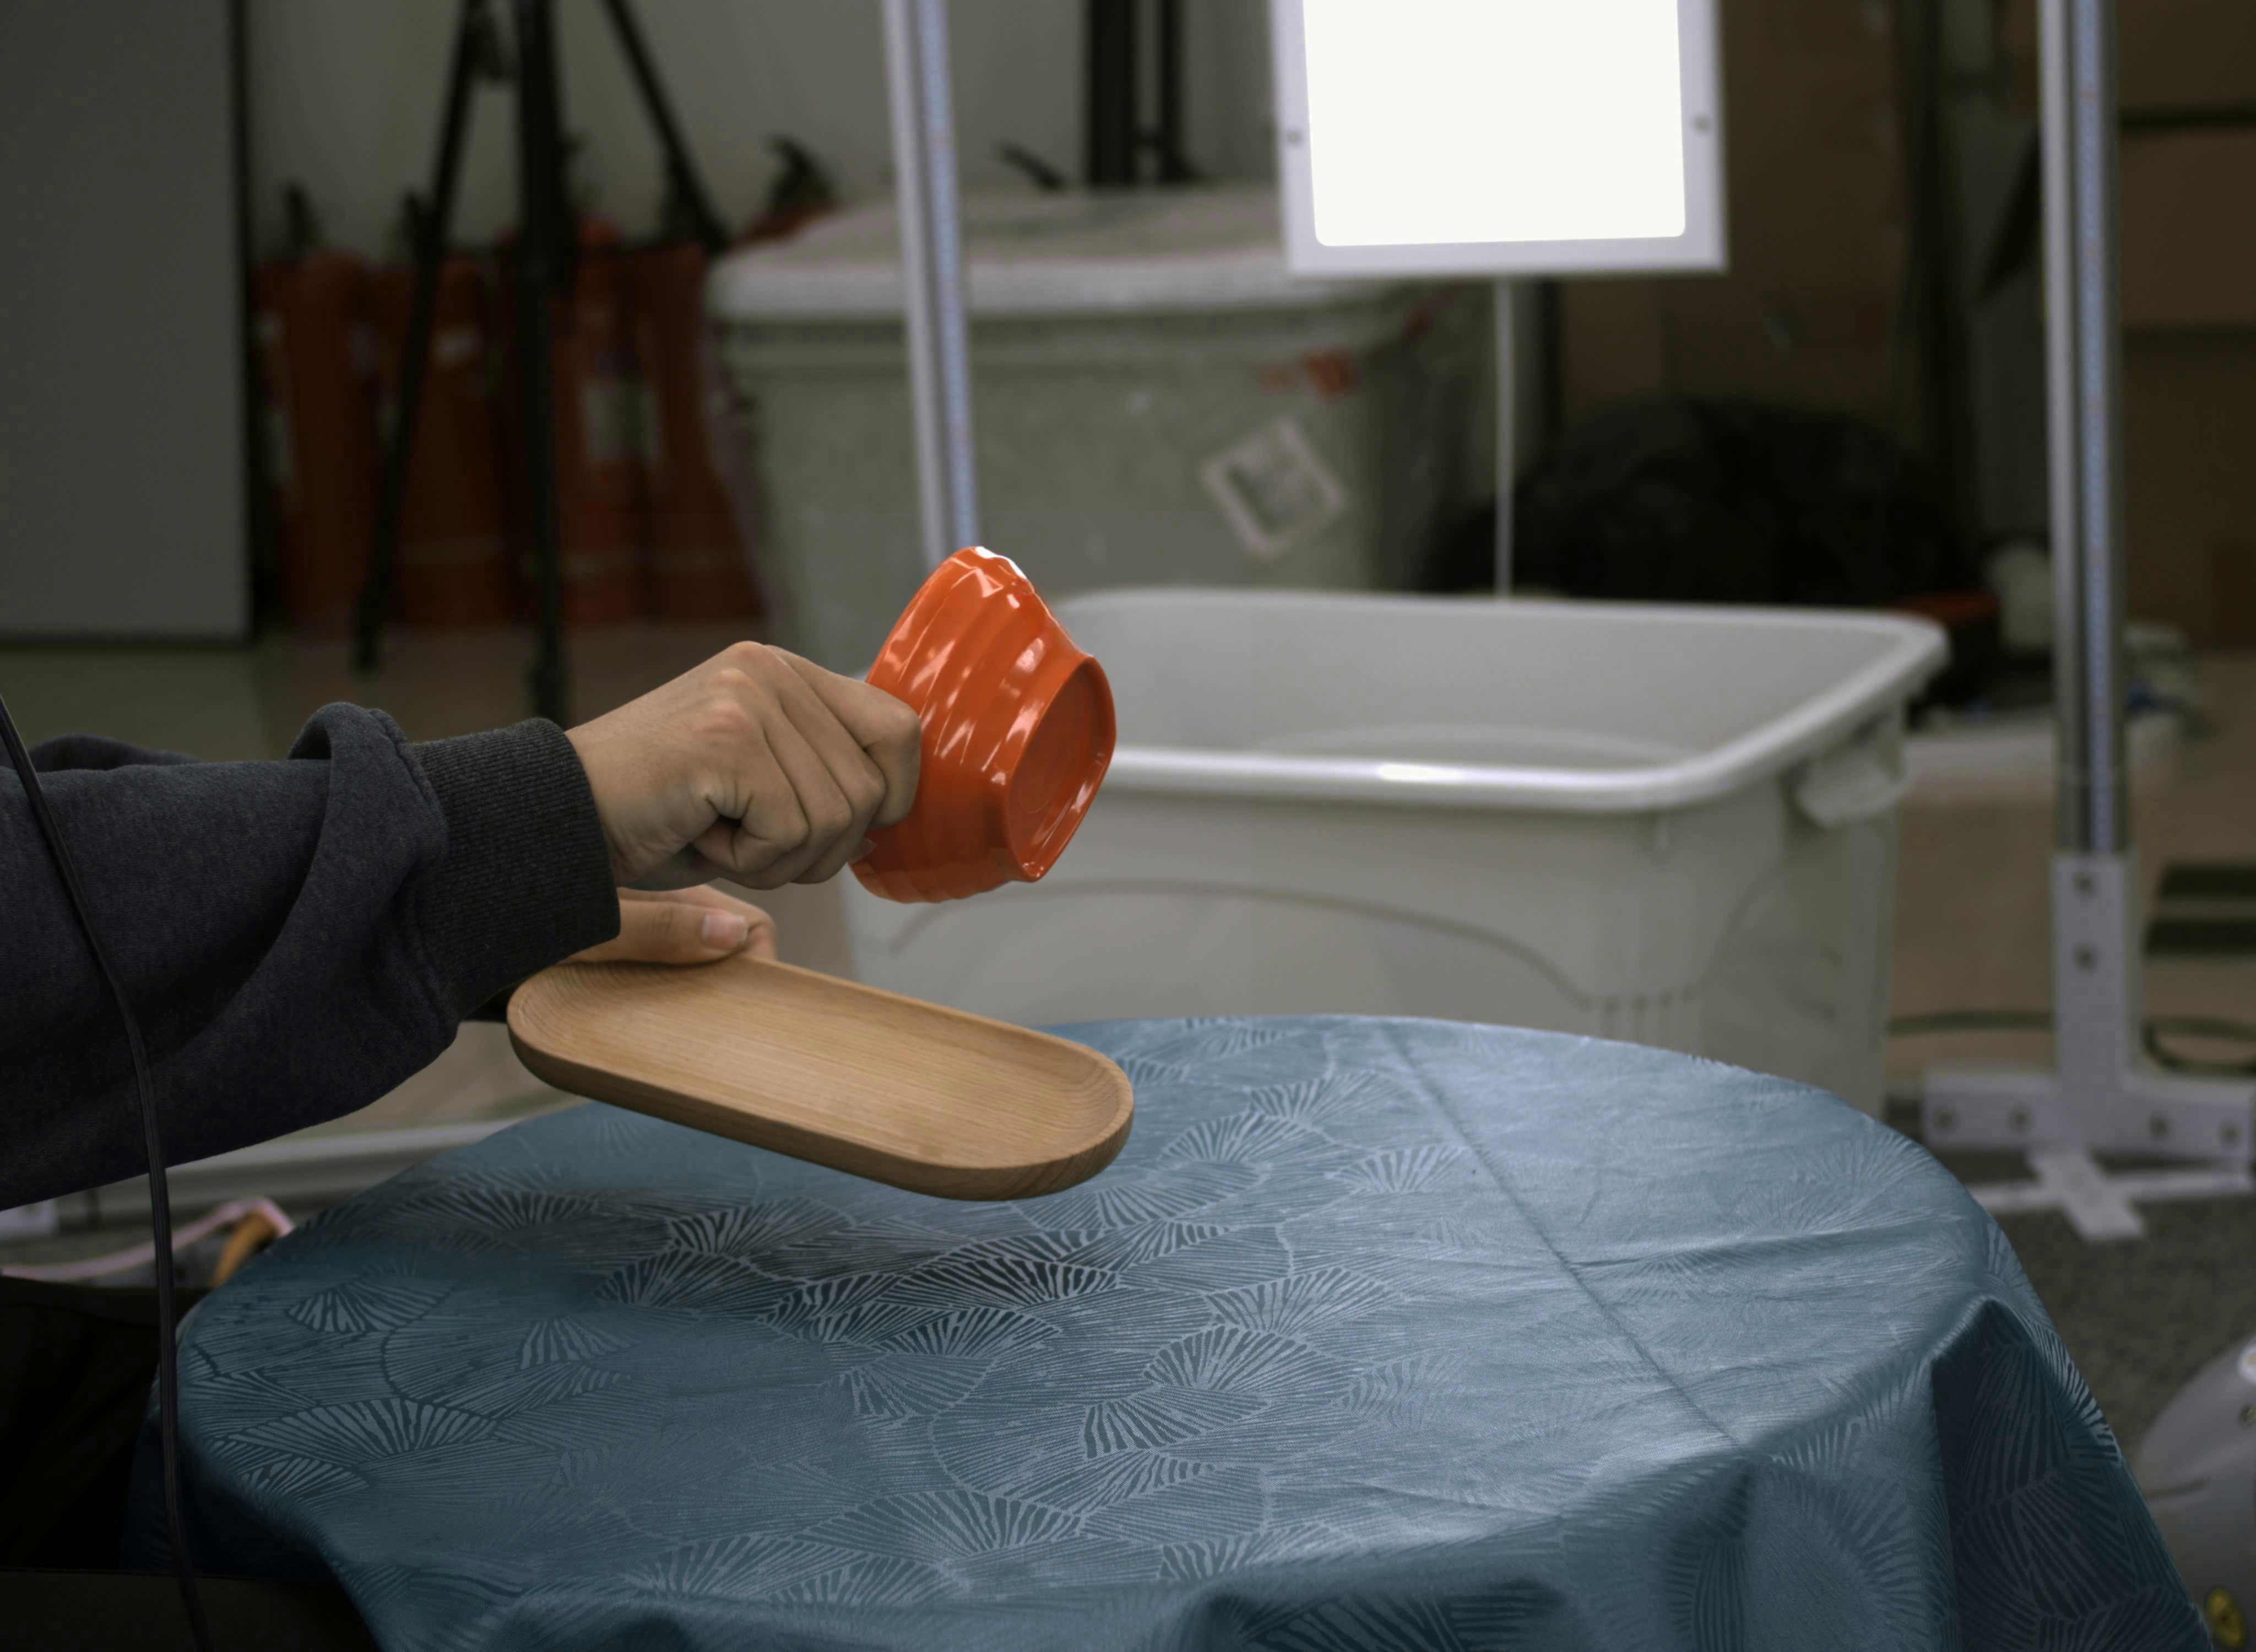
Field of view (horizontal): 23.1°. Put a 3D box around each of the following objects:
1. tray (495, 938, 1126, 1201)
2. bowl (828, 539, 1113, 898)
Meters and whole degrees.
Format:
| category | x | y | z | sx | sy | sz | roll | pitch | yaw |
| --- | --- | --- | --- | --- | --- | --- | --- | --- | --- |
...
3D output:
| category | x | y | z | sx | sy | sz | roll | pitch | yaw |
| --- | --- | --- | --- | --- | --- | --- | --- | --- | --- |
| tray | -0.108 | 0.081 | 1.847 | 0.235 | 0.020 | 0.099 | 13 | 27 | 28 |
| bowl | -0.044 | -0.027 | 1.735 | 0.052 | 0.120 | 0.116 | 23 | 24 | 21 |
